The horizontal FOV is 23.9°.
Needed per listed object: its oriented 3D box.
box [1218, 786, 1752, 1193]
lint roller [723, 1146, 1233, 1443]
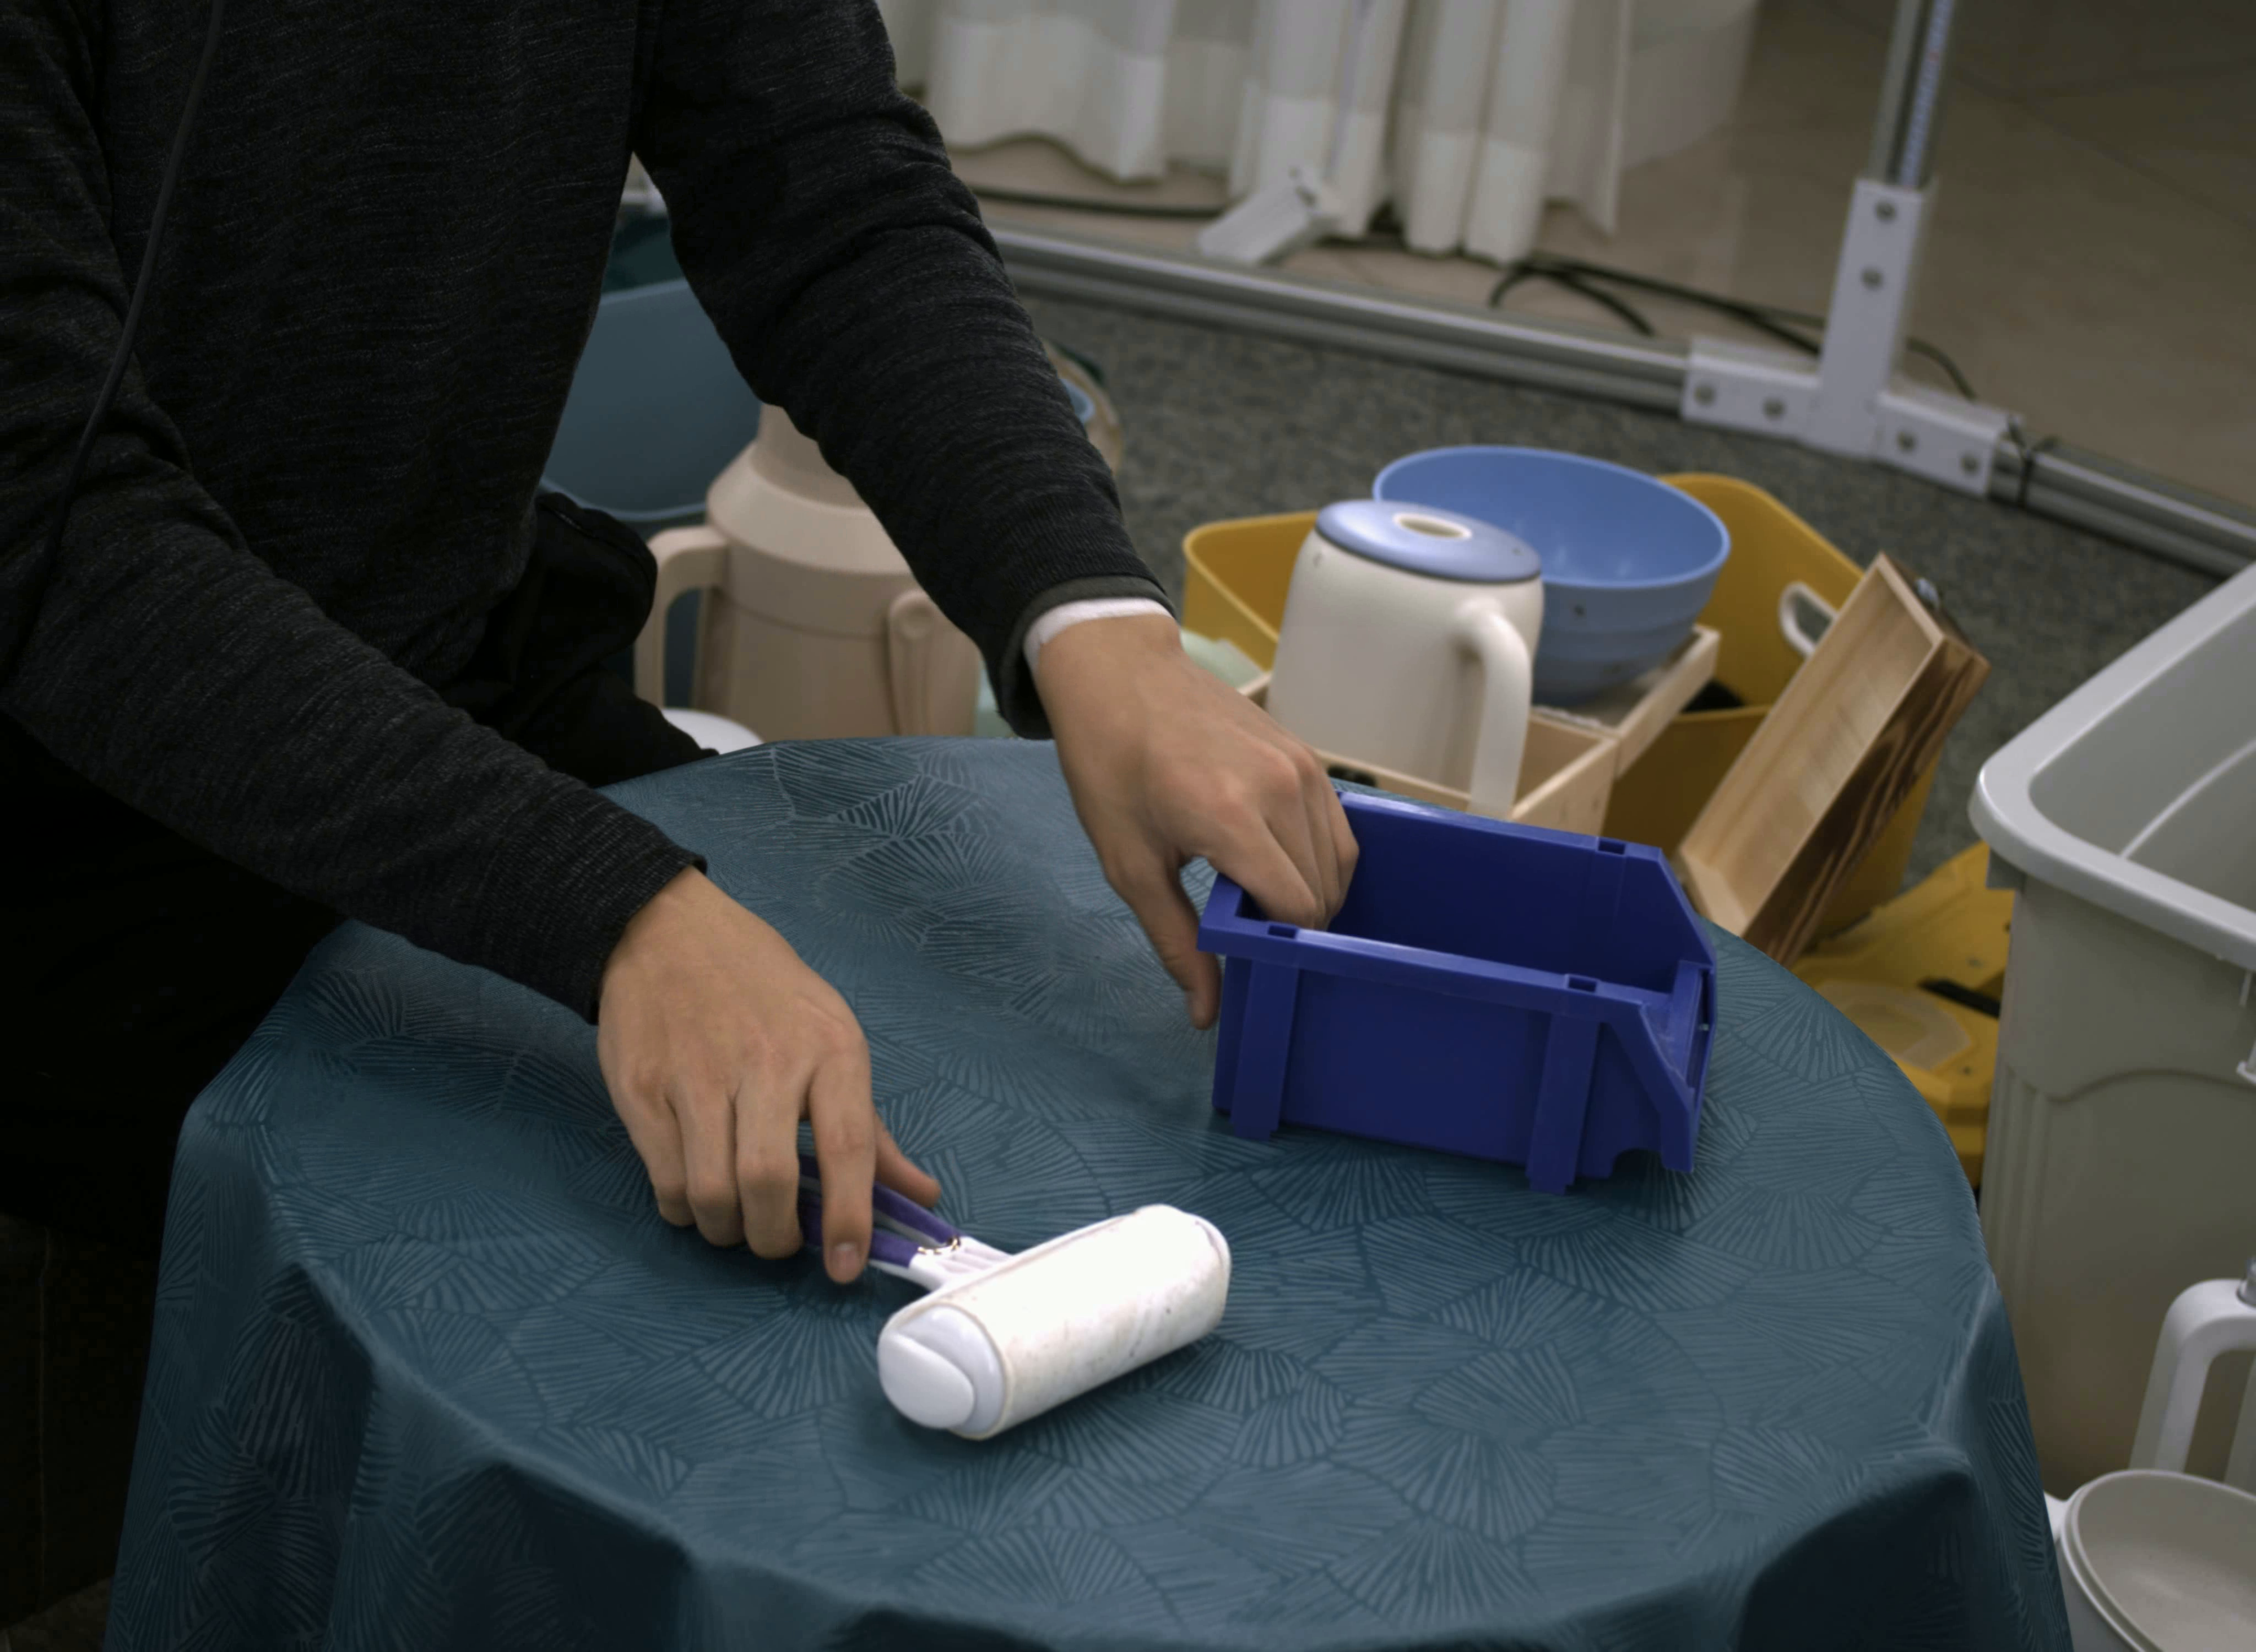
[{"bbox_3d":[0.128,0.058,1.870,0.179,0.081,0.125,8,26,9],"label":"box"},{"bbox_3d":[-0.065,0.131,1.723,0.132,0.050,0.182,-20,38,-39],"label":"lint roller"}]
